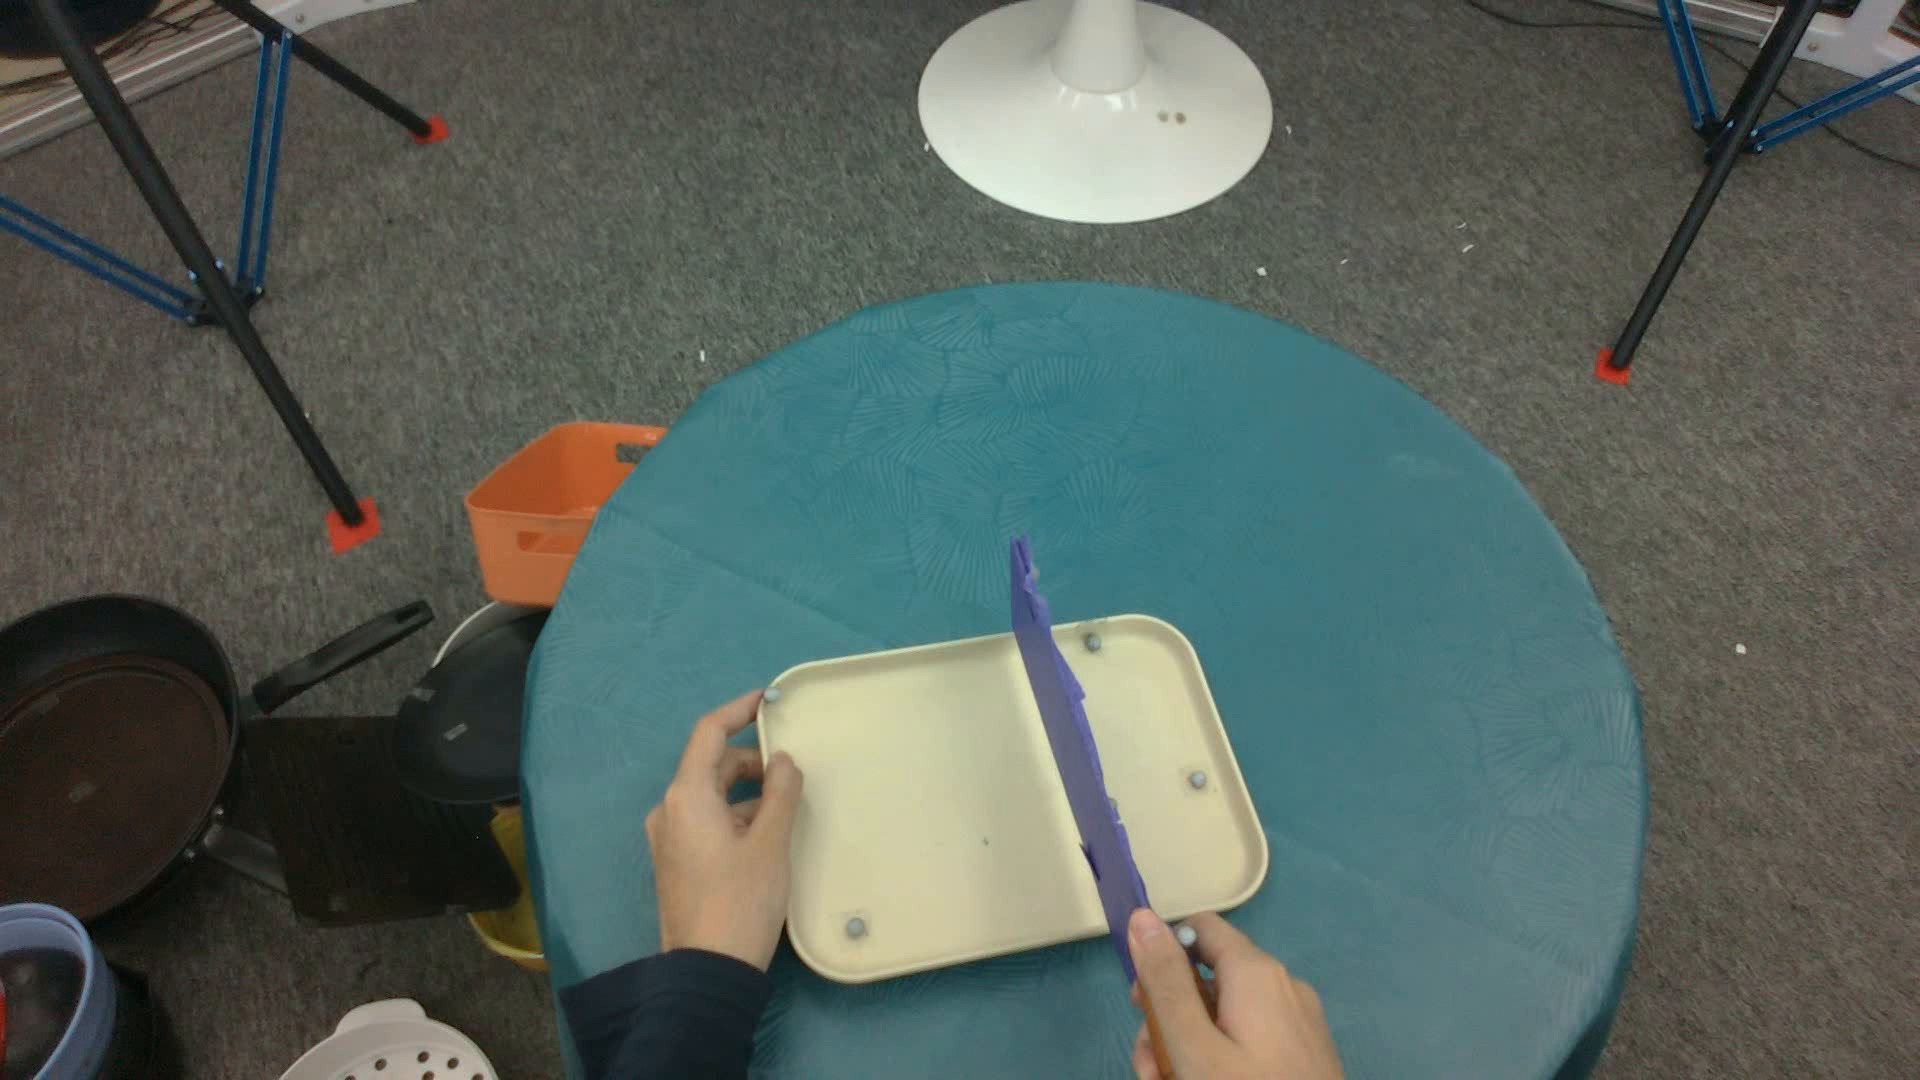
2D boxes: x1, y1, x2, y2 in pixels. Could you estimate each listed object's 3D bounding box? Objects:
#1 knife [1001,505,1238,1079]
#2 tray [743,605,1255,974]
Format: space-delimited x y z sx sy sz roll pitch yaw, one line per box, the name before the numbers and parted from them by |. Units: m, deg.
knife | 0.066 0.133 0.618 0.032 0.103 0.316 -11 55 -7
tray | 0.017 0.120 0.698 0.240 0.017 0.172 -8 55 -12
